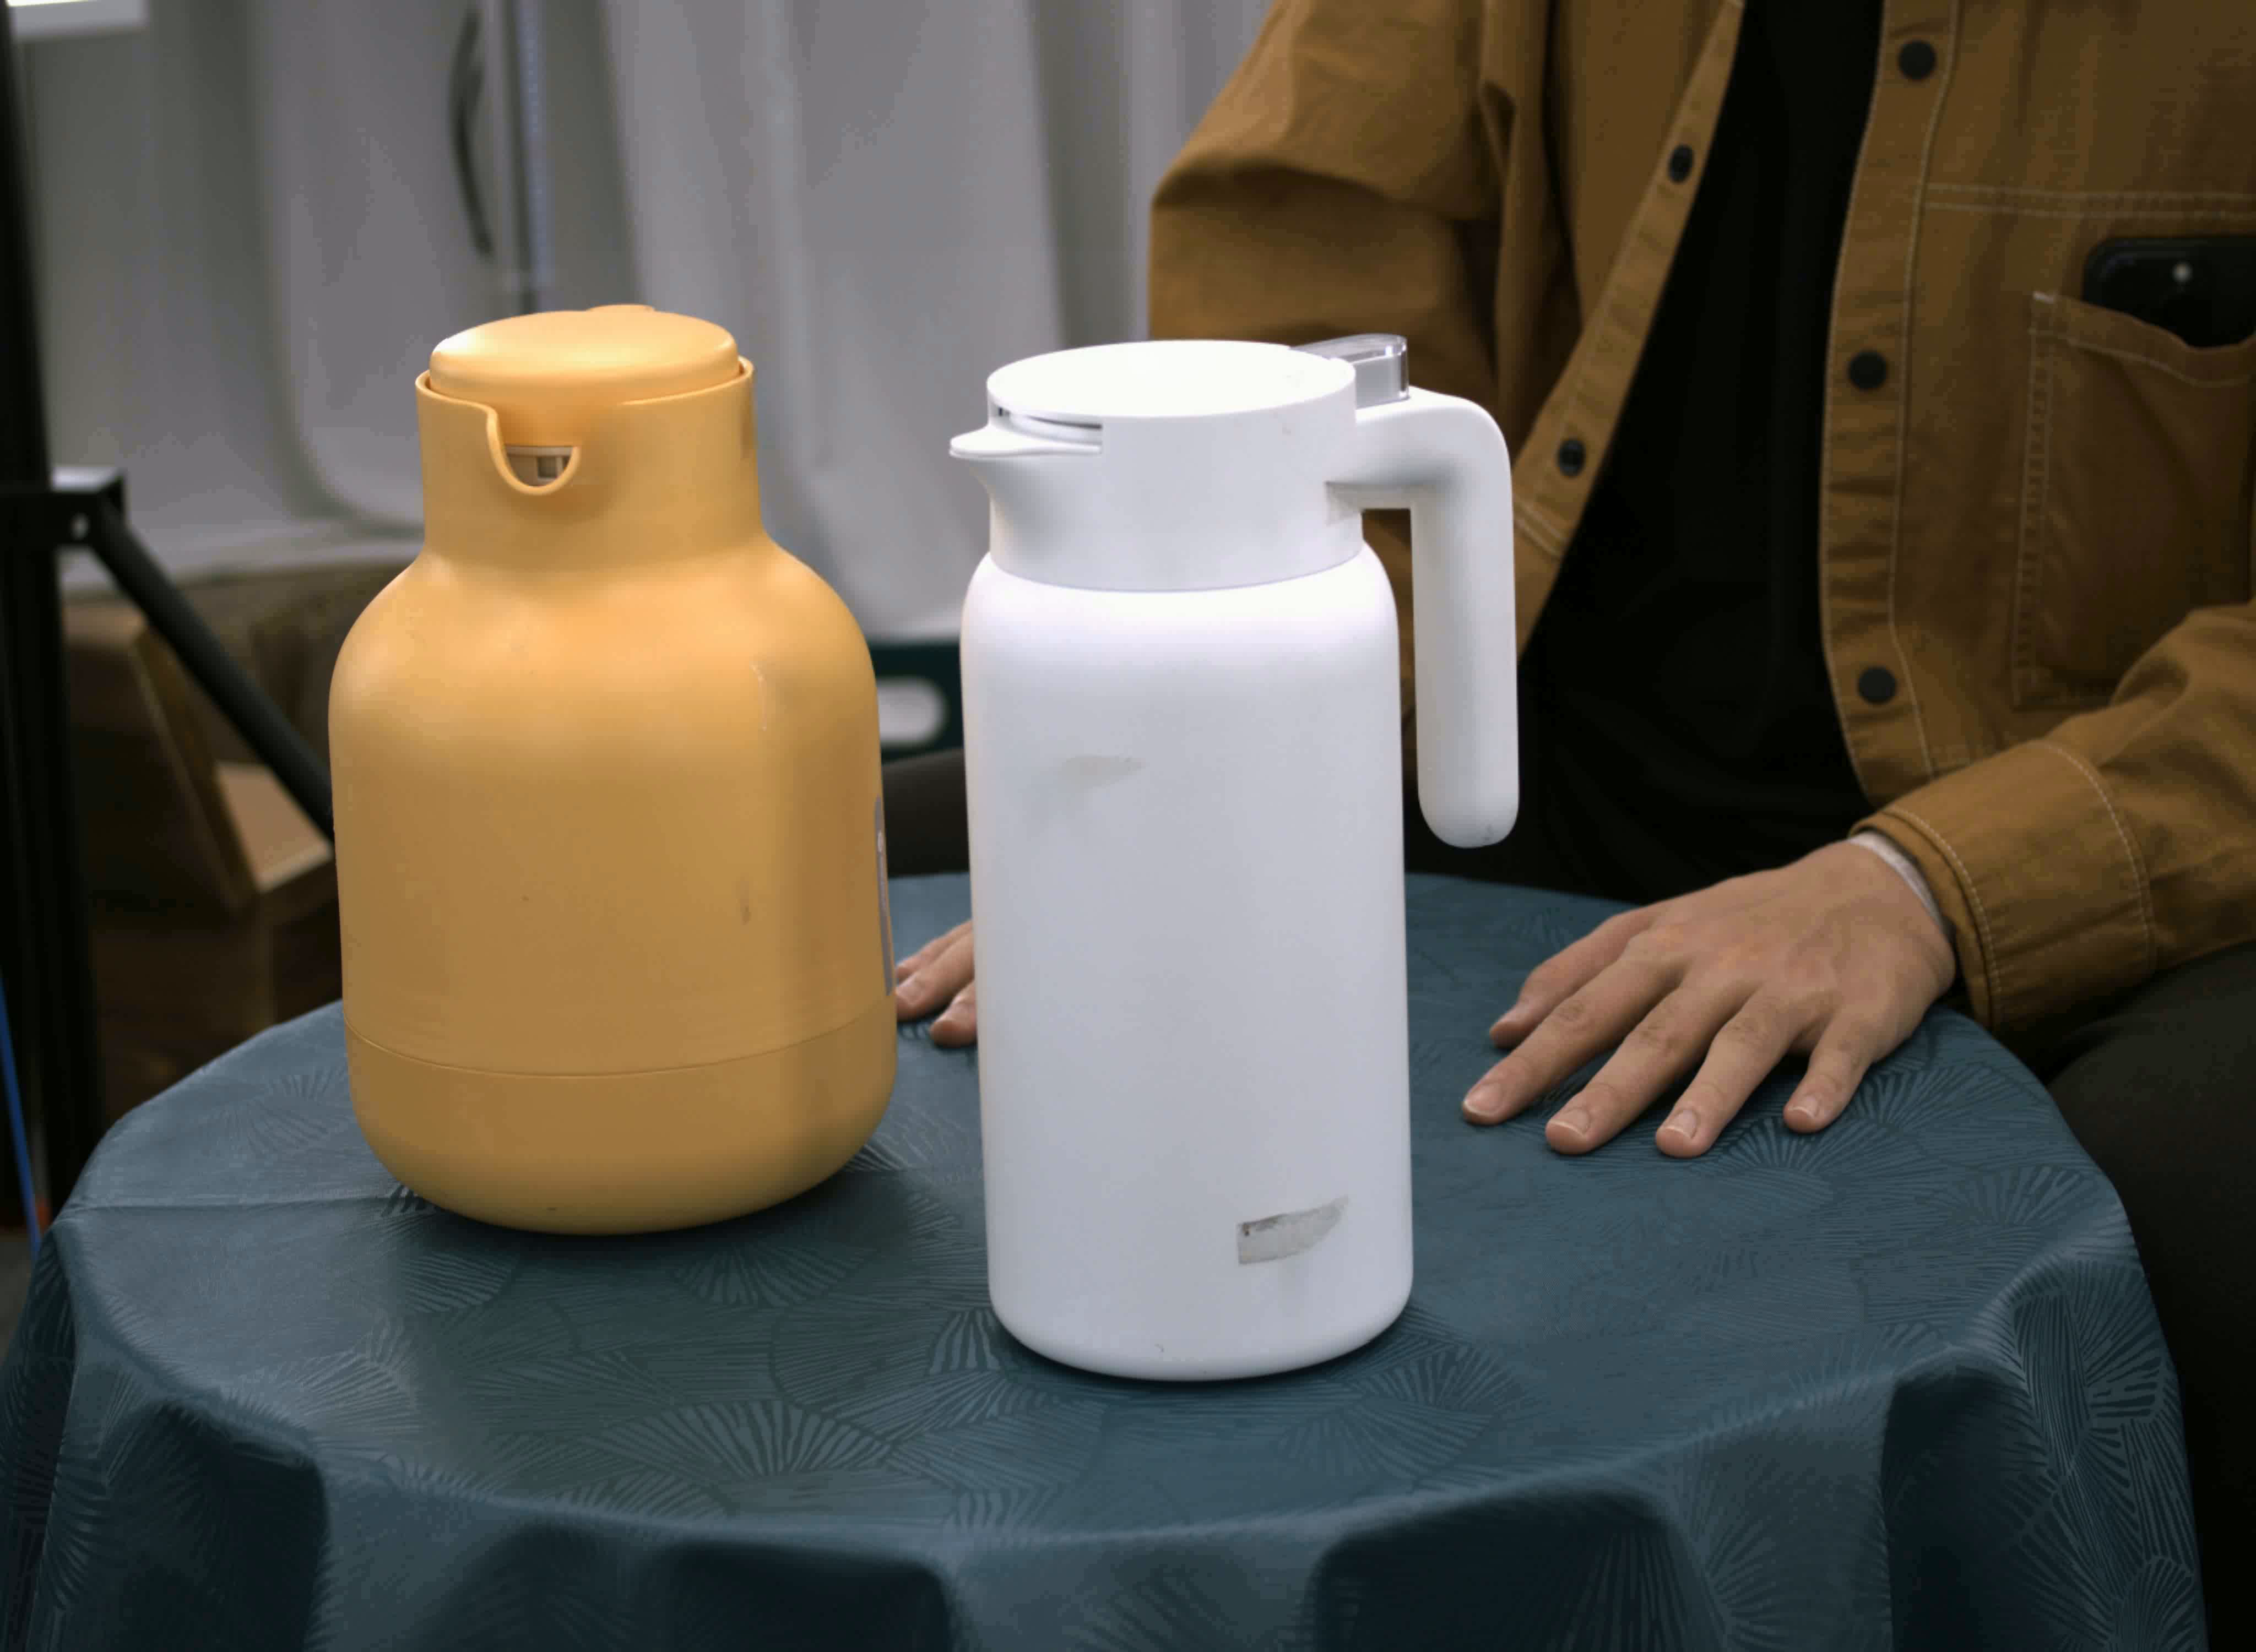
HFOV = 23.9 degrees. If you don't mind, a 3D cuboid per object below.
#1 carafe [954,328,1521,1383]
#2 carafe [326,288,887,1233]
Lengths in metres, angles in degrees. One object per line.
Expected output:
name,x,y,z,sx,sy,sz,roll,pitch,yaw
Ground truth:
carafe,0.030,0.003,1.430,0.169,0.269,0.126,-12,16,-32
carafe,-0.149,-0.027,1.578,0.164,0.260,0.202,3,17,9
